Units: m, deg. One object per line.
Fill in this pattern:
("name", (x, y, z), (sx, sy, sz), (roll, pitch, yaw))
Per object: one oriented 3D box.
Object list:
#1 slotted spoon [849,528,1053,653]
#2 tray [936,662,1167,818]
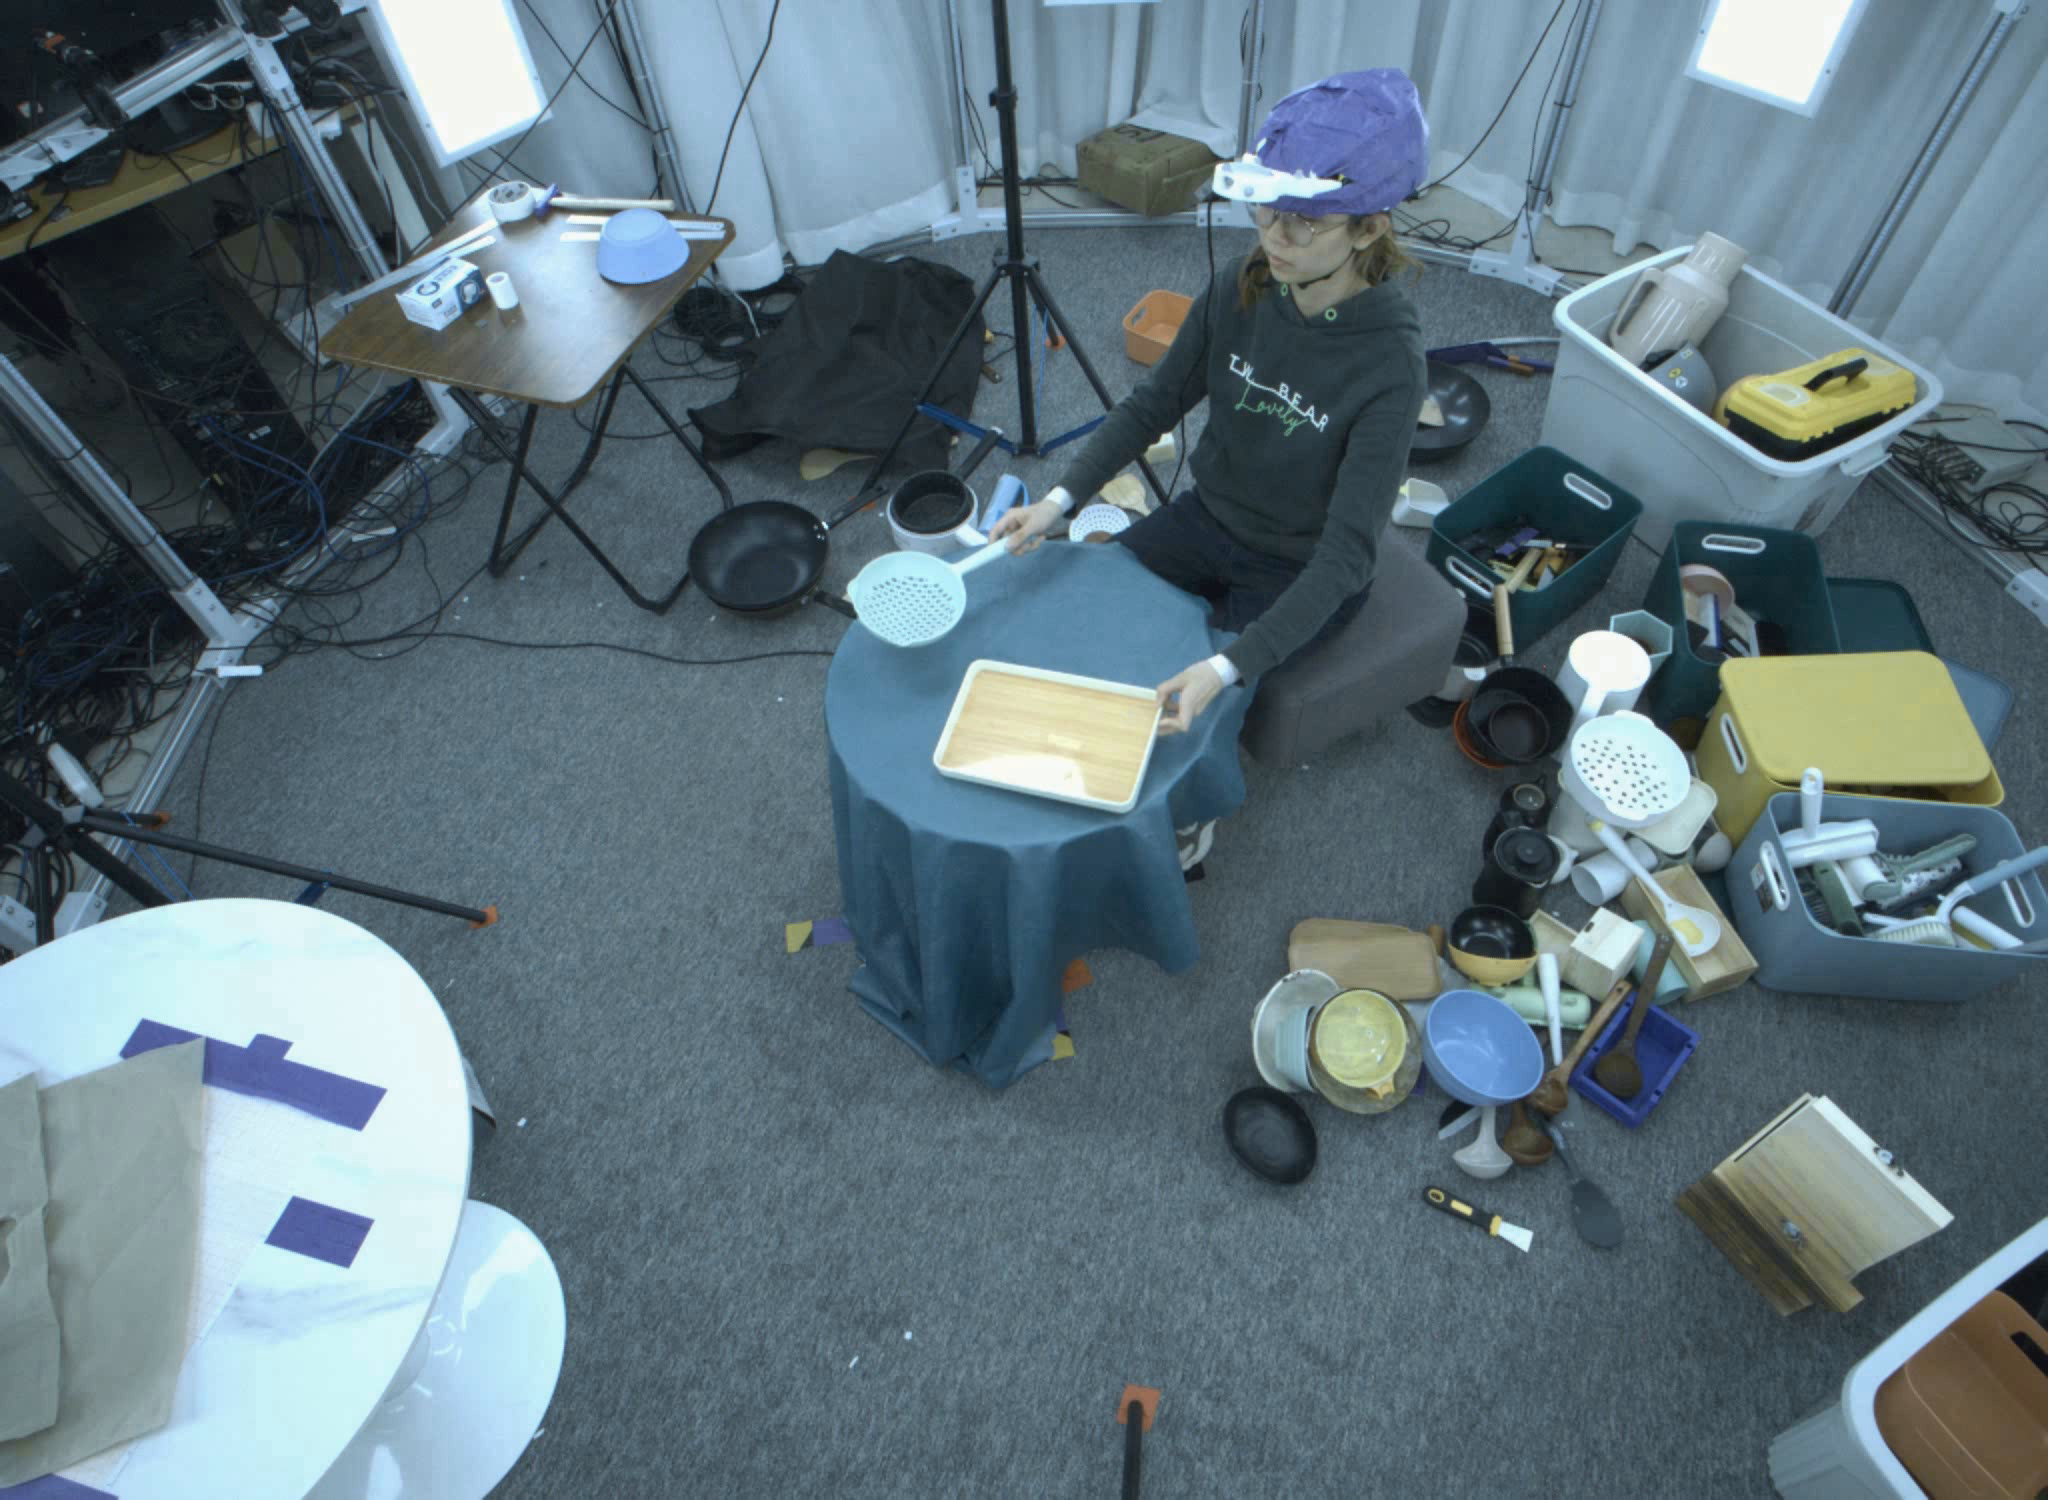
("slotted spoon", (-0.097, -0.265, 1.881), (0.361, 0.076, 0.167), (-36, 73, -17))
("tray", (0.040, -0.018, 1.765), (0.297, 0.028, 0.191), (13, 65, 15))
